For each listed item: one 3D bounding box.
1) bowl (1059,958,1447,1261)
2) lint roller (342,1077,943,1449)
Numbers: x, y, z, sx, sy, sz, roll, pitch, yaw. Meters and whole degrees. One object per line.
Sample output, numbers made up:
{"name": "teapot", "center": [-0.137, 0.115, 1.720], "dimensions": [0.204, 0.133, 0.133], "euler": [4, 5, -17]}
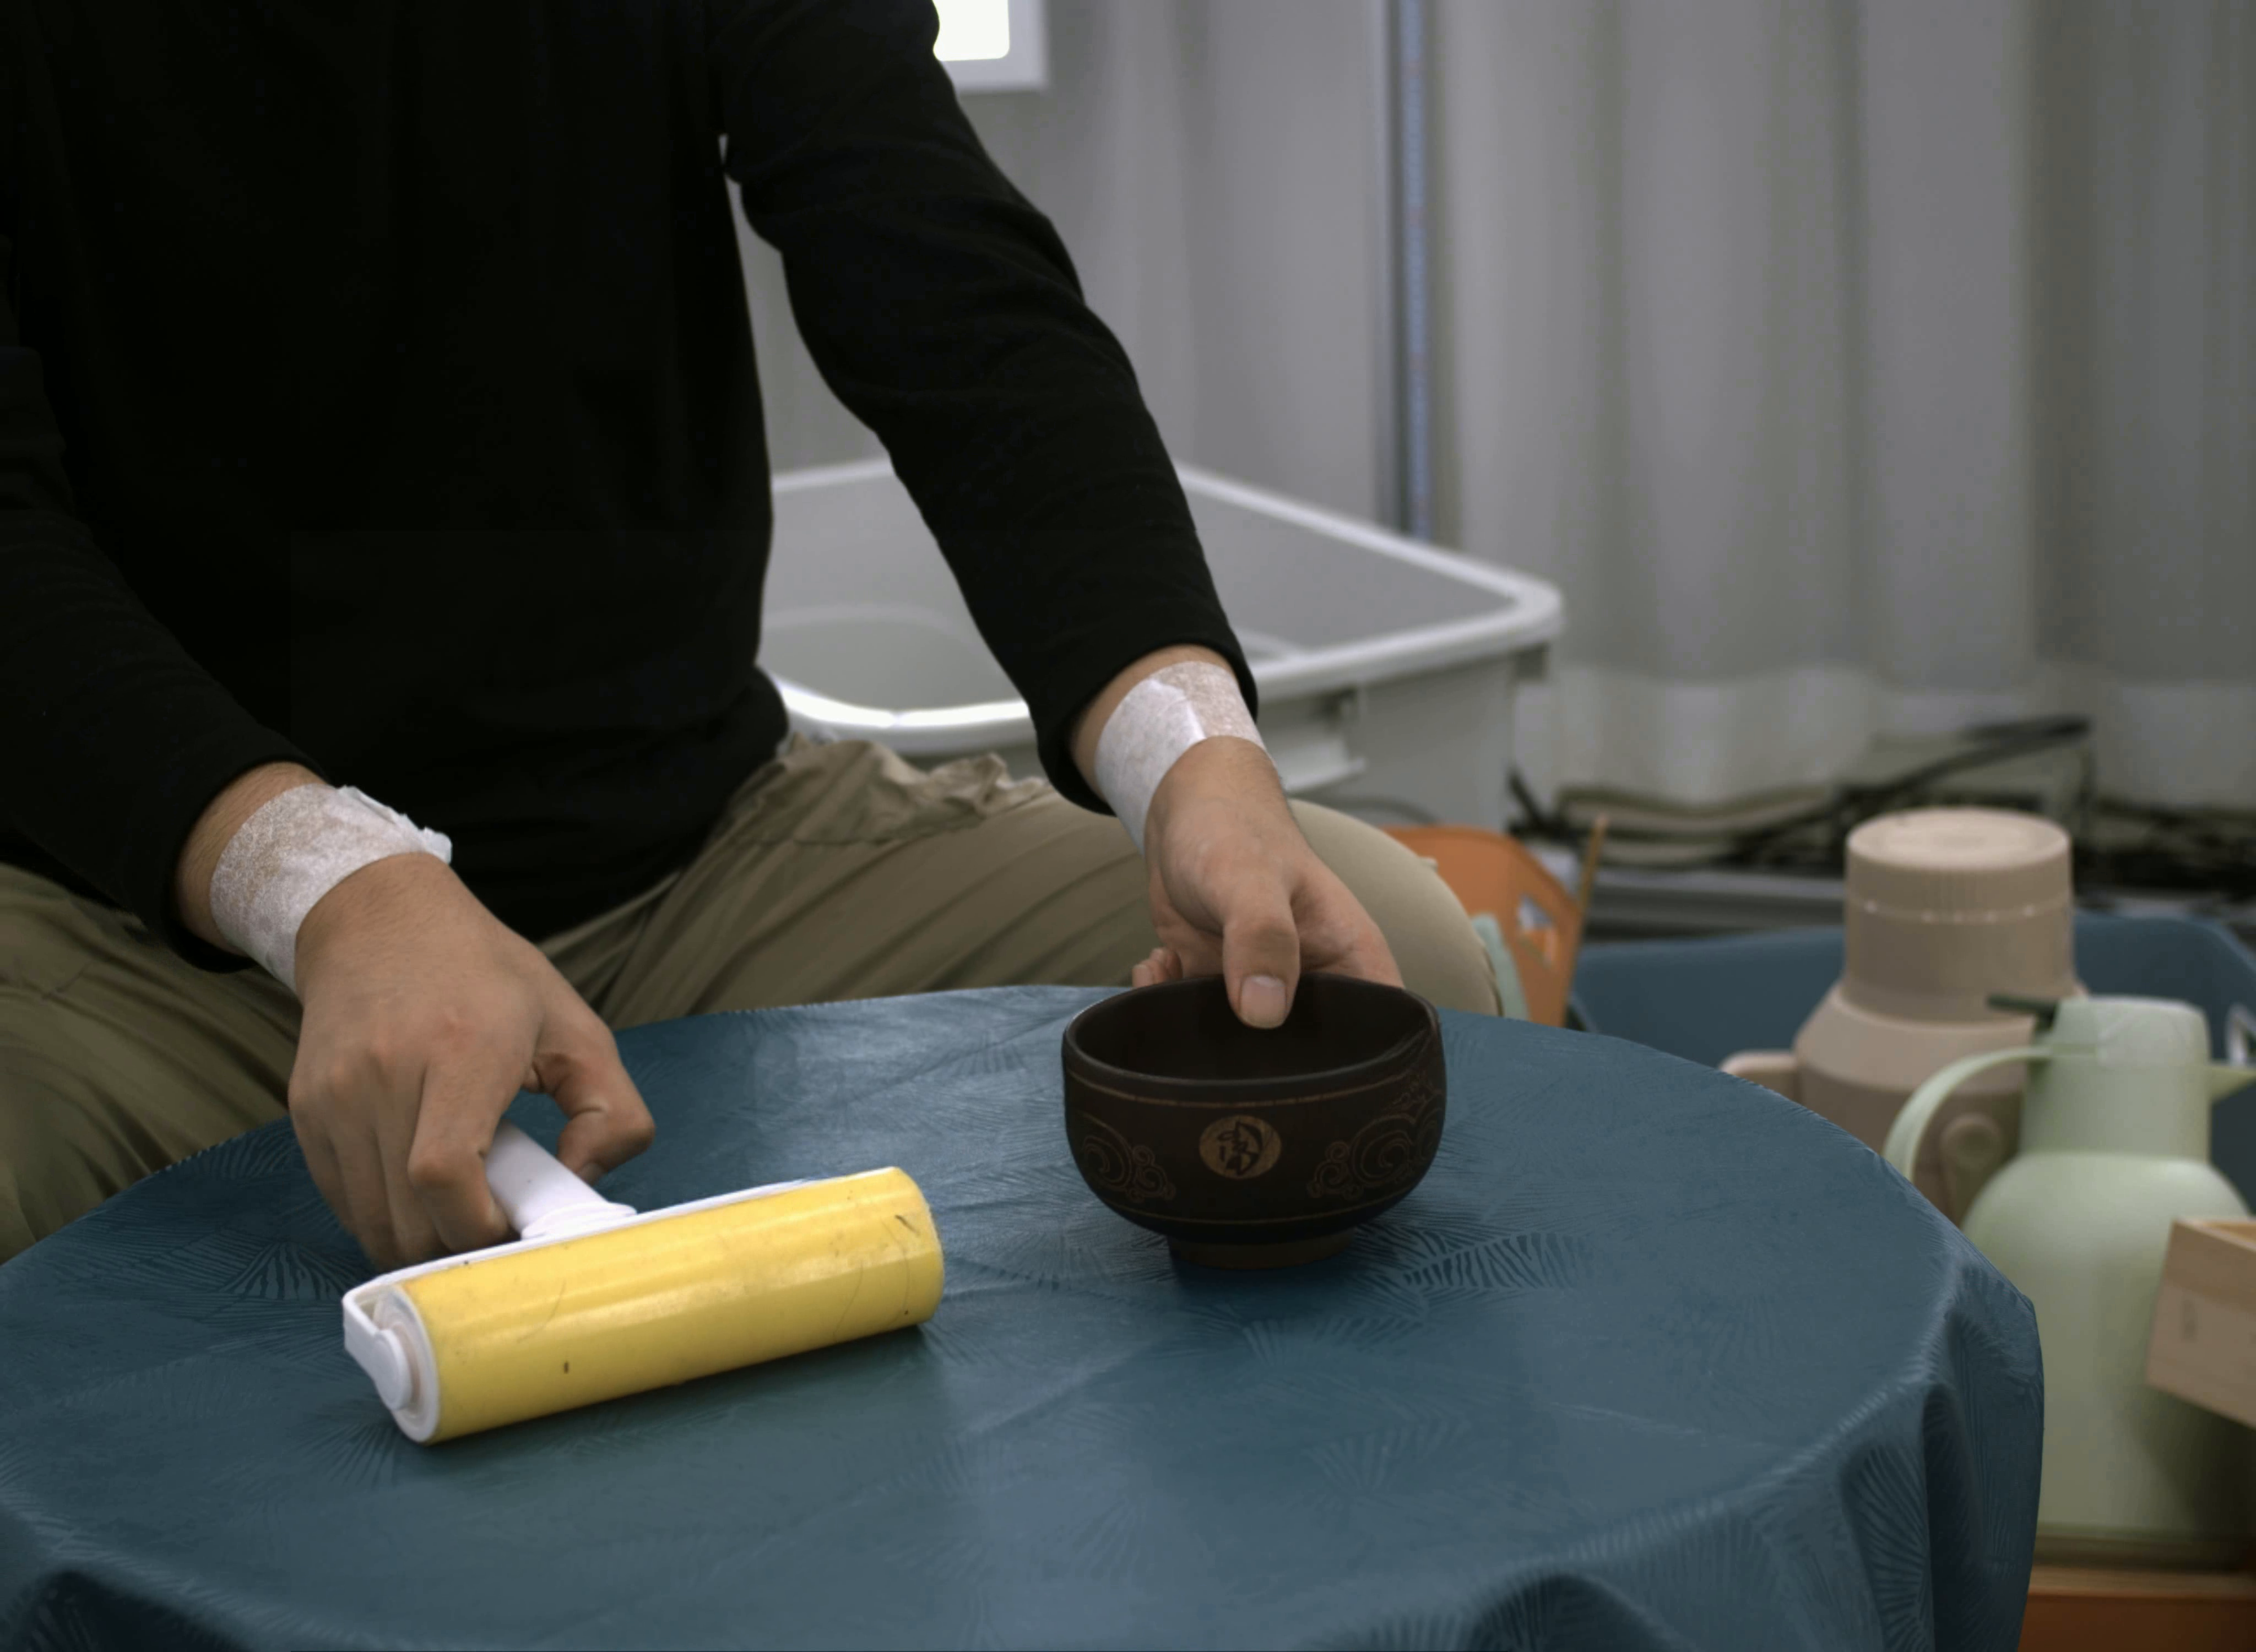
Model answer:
{"name": "bowl", "center": [0.038, 0.090, 1.655], "dimensions": [0.117, 0.069, 0.119], "euler": [-2, 15, 0]}
{"name": "lint roller", "center": [-0.172, 0.108, 1.619], "dimensions": [0.173, 0.051, 0.194], "euler": [-12, 33, -30]}
